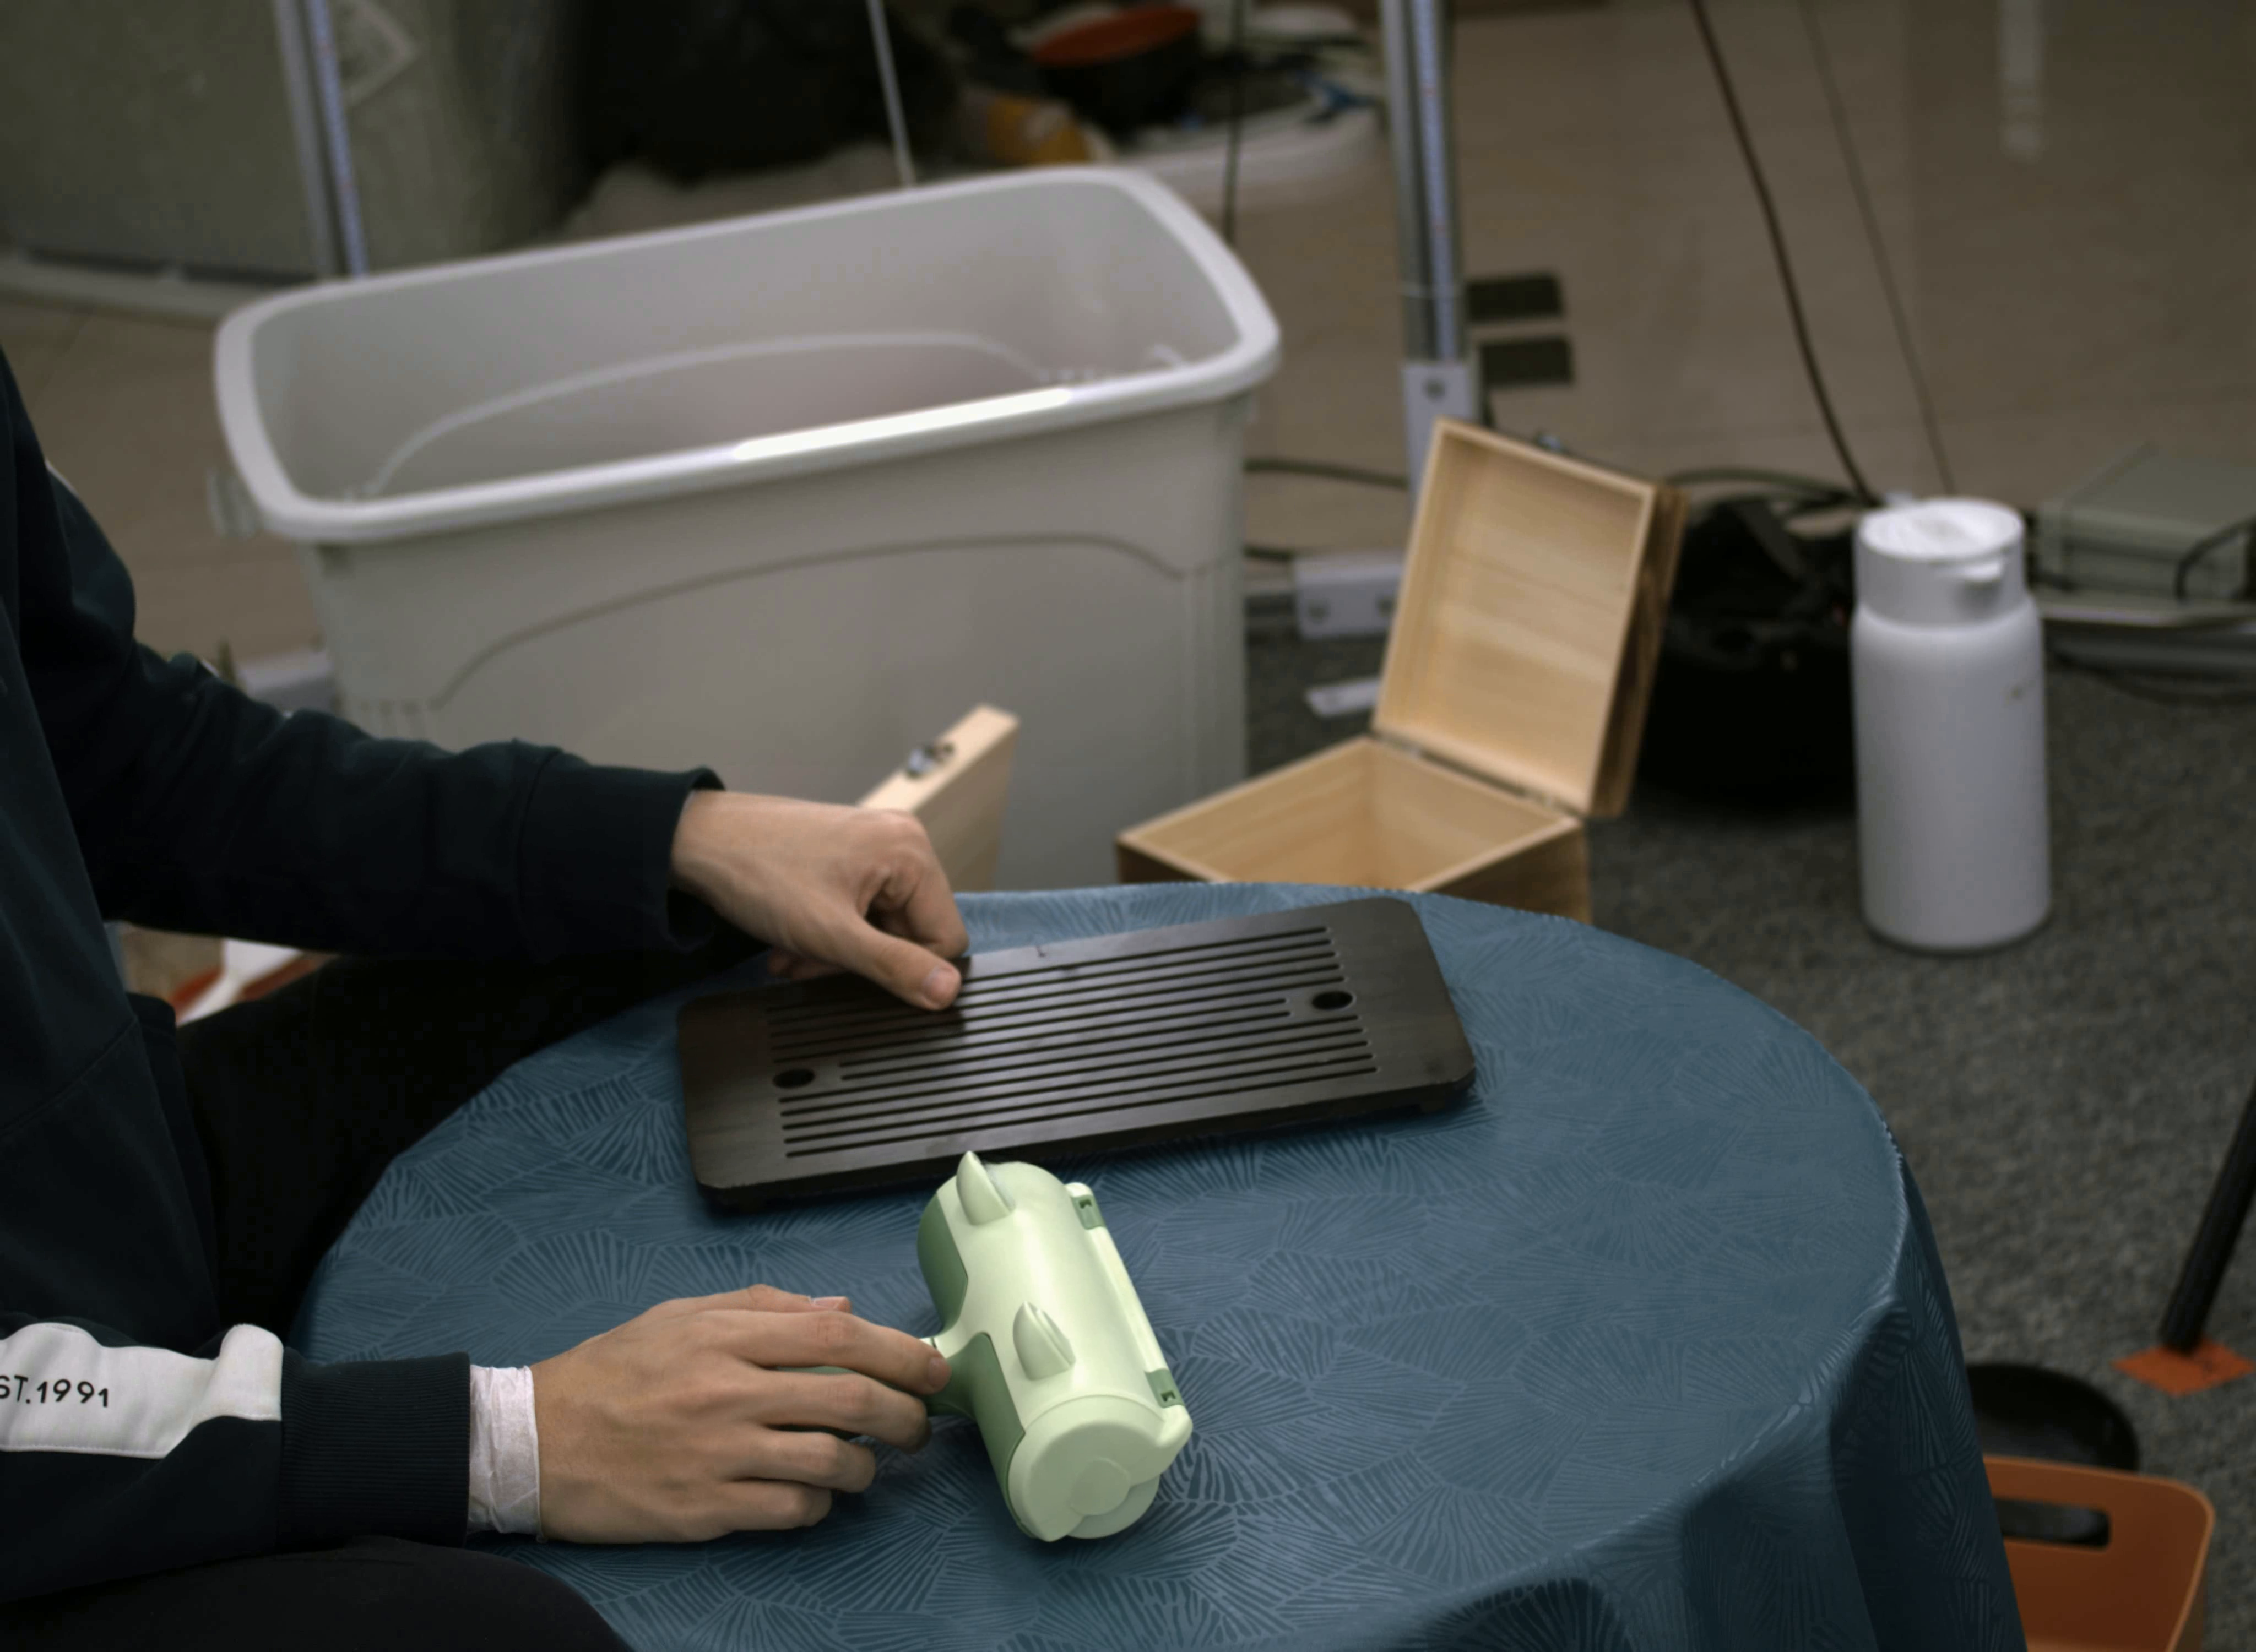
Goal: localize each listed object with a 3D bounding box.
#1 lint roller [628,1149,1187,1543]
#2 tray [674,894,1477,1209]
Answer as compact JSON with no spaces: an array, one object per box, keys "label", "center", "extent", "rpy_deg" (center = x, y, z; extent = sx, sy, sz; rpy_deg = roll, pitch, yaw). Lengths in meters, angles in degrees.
[{"label":"lint roller","center":[-0.086,0.182,1.979],"extent":[0.183,0.083,0.196],"rpy_deg":[-7,25,-9]},{"label":"tray","center":[-0.024,0.089,2.236],"extent":[0.305,0.019,0.167],"rpy_deg":[-8,25,-4]}]
